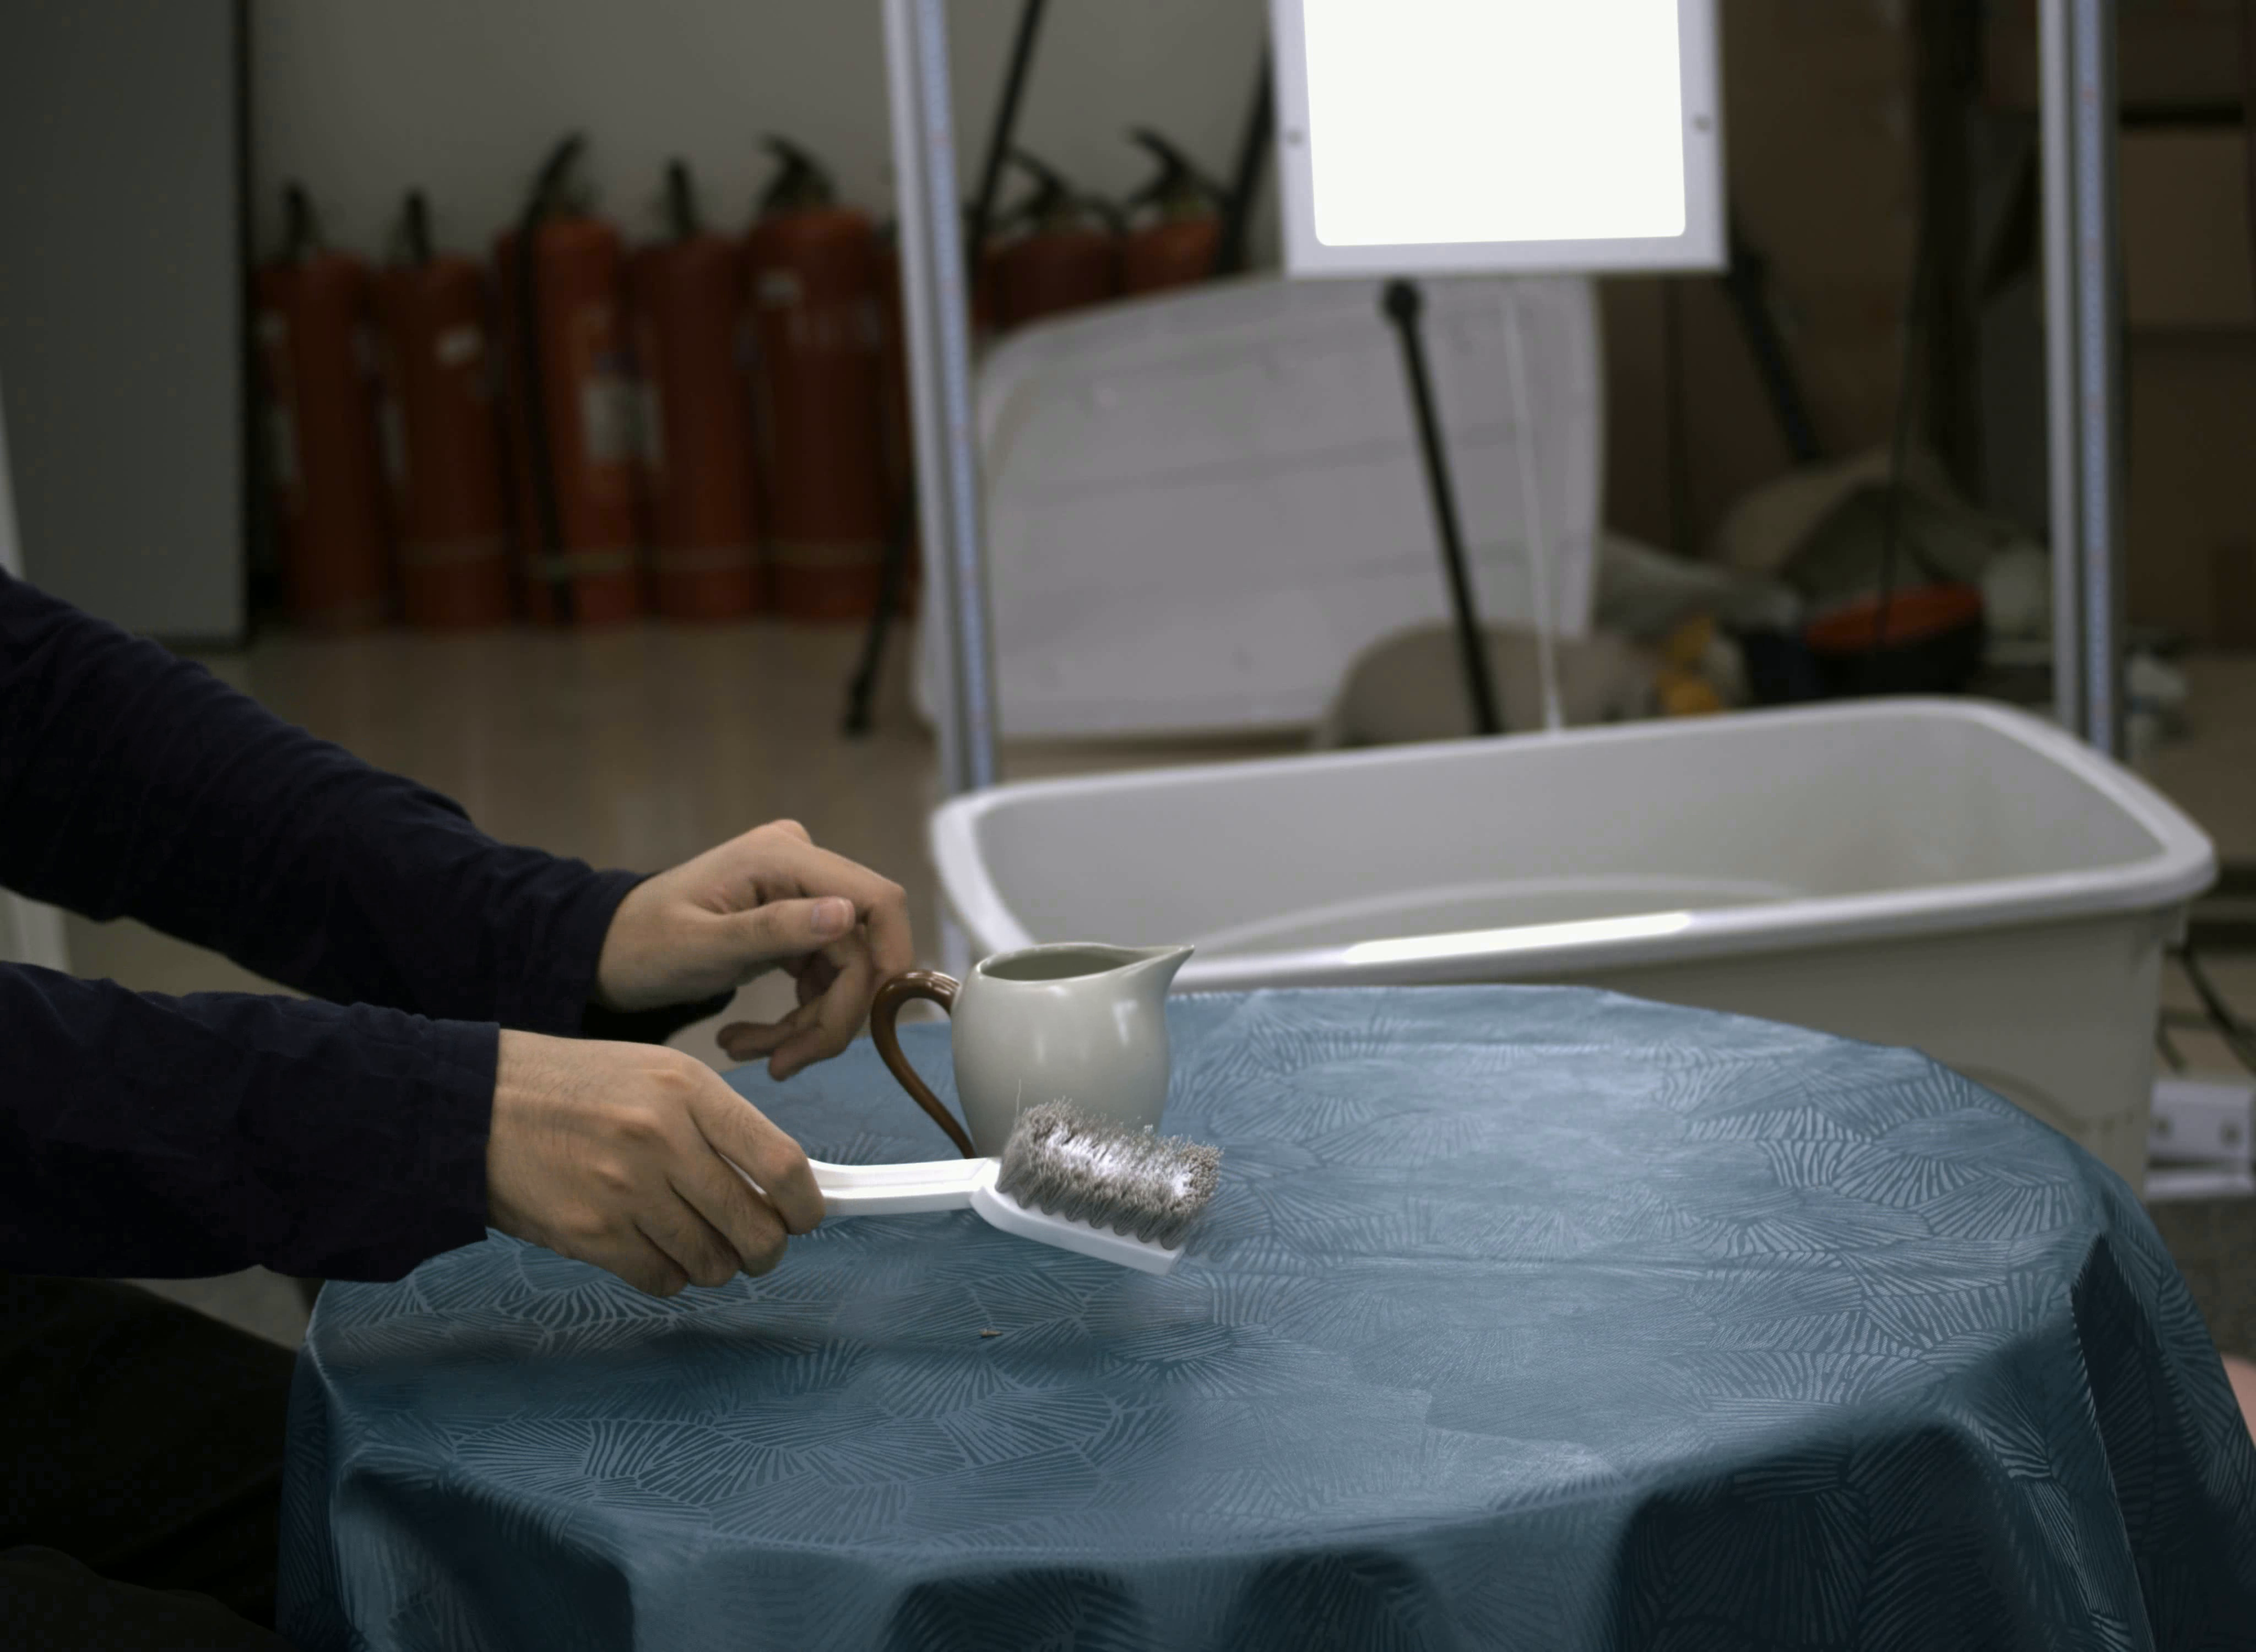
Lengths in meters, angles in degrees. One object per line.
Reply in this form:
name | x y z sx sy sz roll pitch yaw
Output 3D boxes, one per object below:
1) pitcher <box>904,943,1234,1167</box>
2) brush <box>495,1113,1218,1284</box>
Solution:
pitcher | -0.021 0.083 1.895 0.120 0.088 0.074 3 11 19
brush | -0.090 0.108 1.767 0.246 0.050 0.034 7 55 14
